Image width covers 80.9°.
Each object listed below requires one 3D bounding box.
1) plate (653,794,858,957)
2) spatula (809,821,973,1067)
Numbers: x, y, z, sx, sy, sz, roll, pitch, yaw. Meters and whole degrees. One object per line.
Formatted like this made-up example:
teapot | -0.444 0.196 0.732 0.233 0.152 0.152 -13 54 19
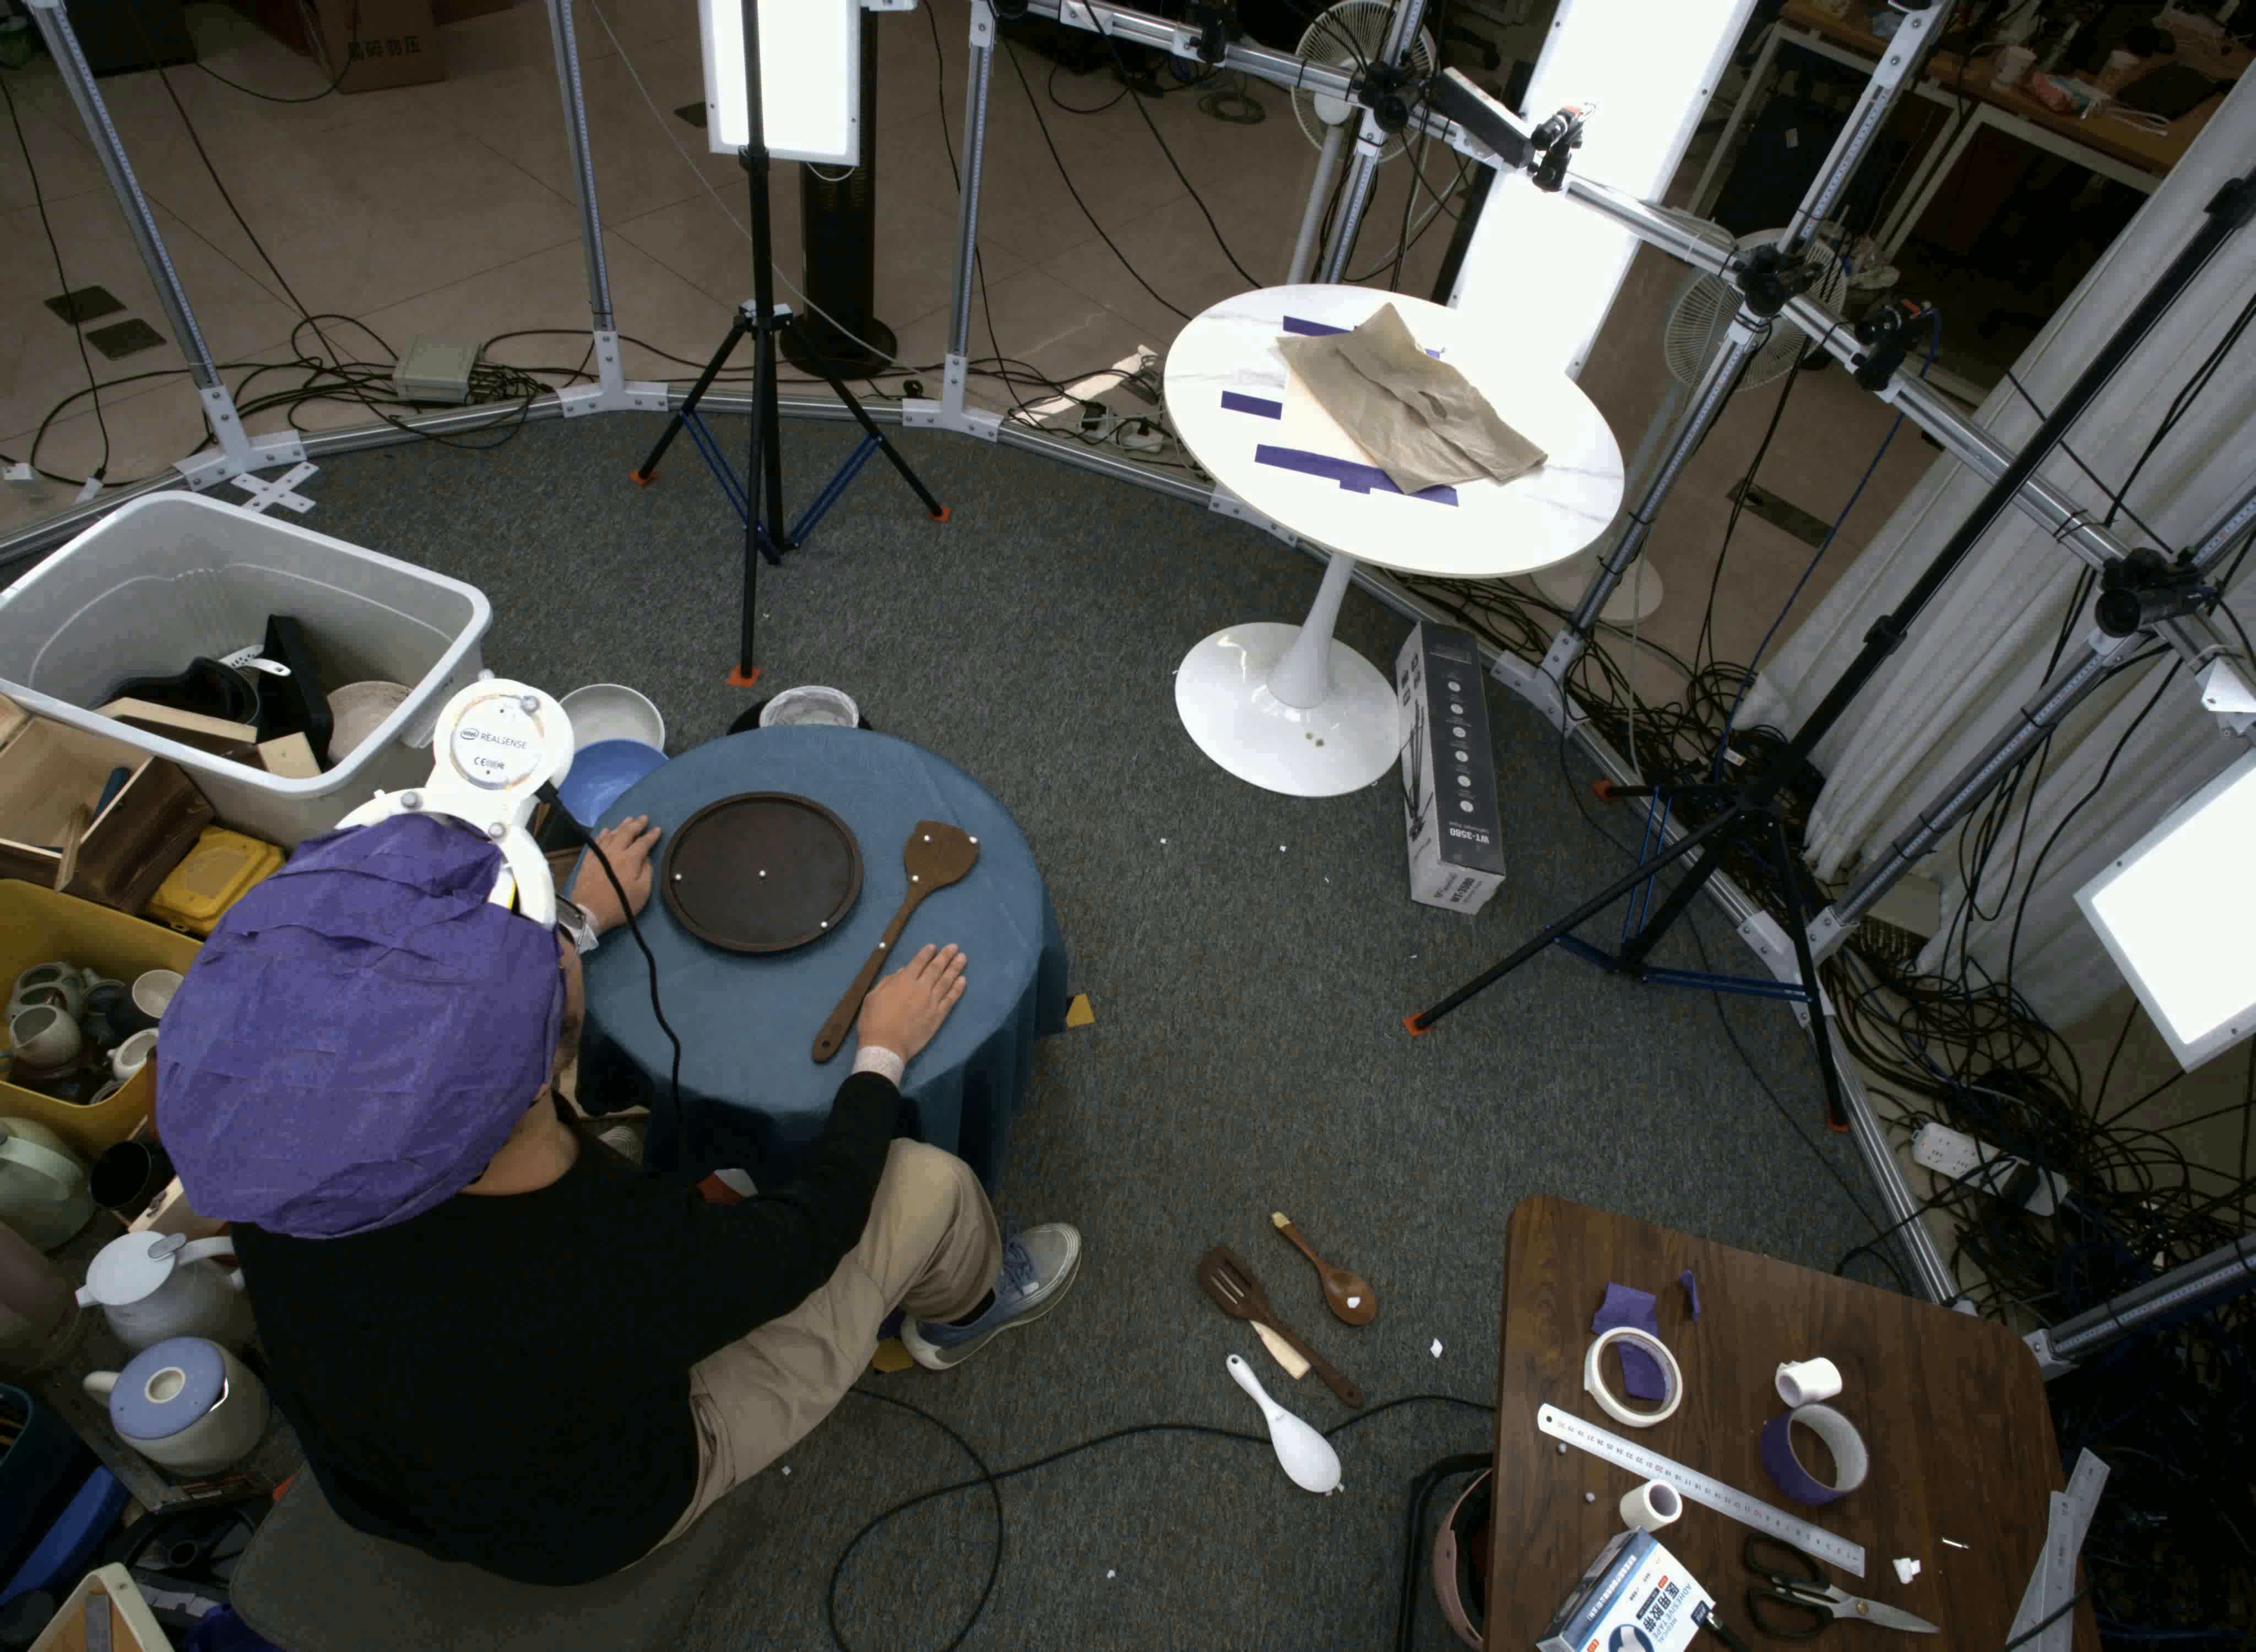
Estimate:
plate | -0.473 0.060 1.647 0.254 0.029 0.250 9 52 -10
spatula | -0.306 0.139 1.637 0.095 0.016 0.382 22 52 3
